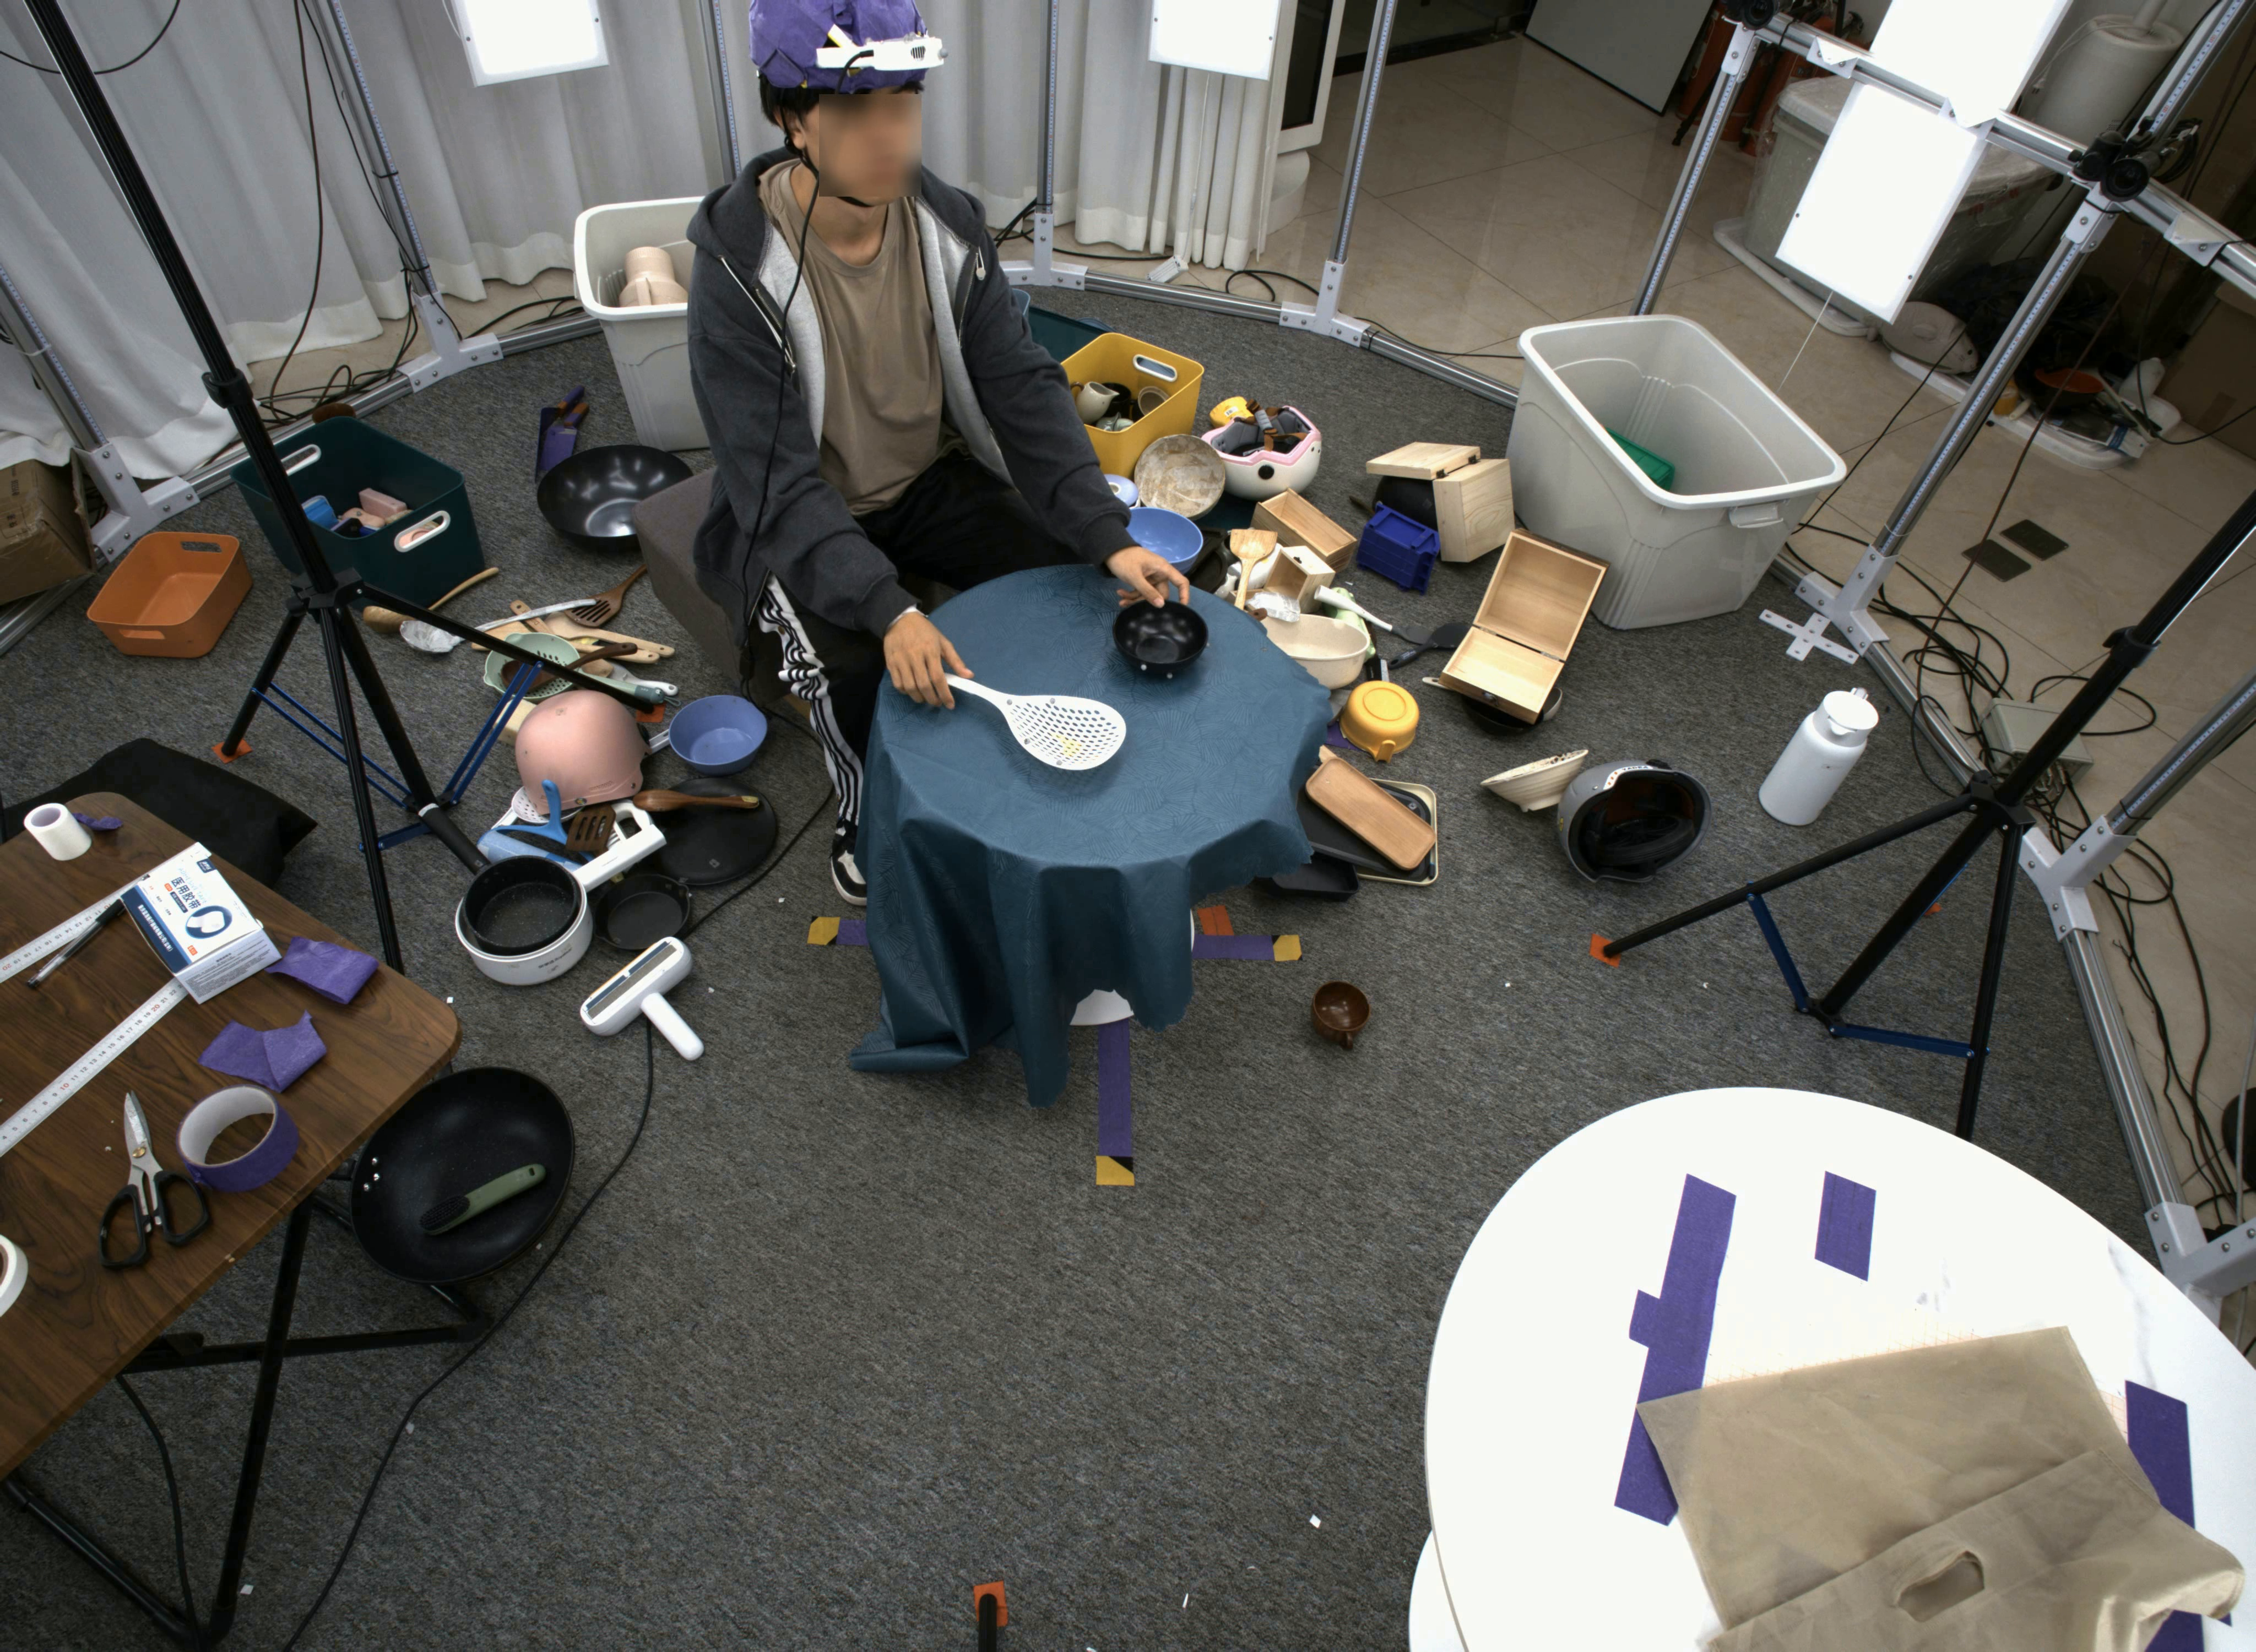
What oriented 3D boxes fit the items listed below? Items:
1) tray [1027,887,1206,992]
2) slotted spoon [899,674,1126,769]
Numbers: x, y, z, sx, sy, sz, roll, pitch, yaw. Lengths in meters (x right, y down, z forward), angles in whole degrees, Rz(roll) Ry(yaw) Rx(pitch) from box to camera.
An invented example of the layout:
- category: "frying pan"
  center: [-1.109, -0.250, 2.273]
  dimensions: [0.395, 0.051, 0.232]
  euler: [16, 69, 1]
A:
- category: "tray"
  center: [-0.019, 0.194, 2.202]
  dimensions: [0.300, 0.027, 0.196]
  euler: [3, 49, -3]
- category: "slotted spoon"
  center: [-0.167, -0.161, 1.769]
  dimensions: [0.351, 0.049, 0.139]
  euler: [25, 55, 17]
